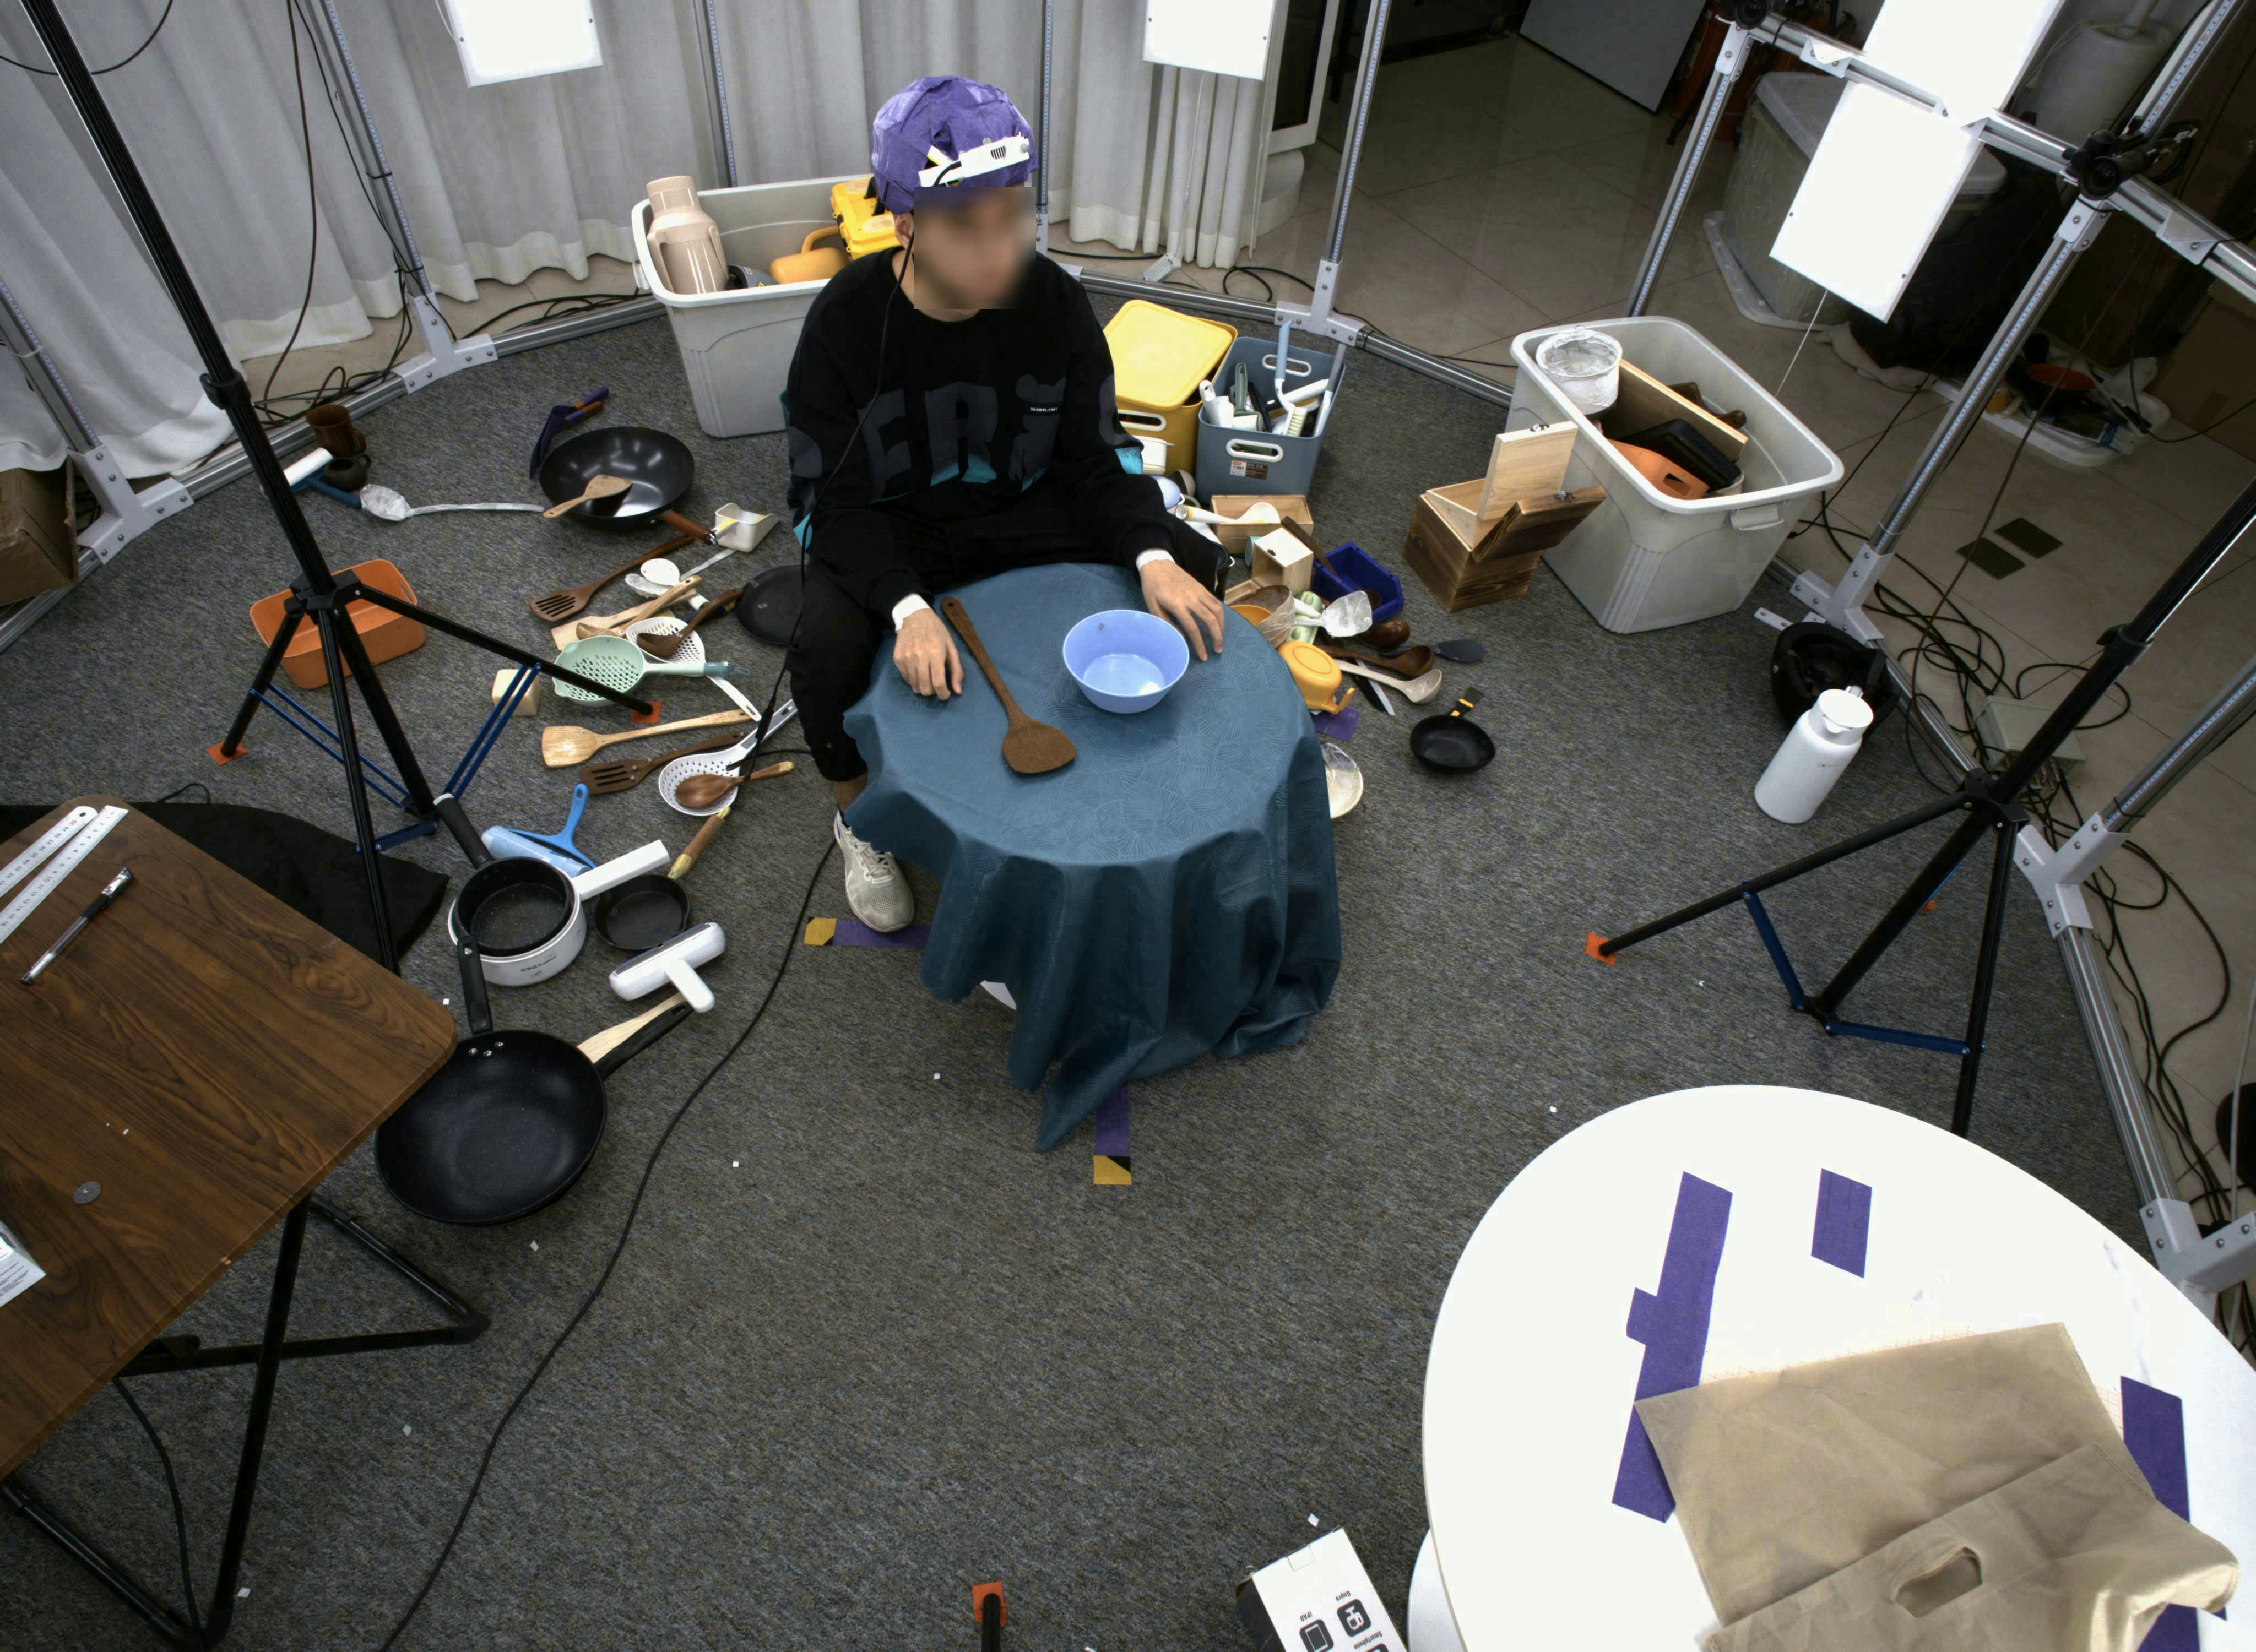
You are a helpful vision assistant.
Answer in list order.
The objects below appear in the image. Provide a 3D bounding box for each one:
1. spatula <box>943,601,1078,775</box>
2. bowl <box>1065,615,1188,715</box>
[{"bbox_3d":[-0.188,-0.208,1.844,0.096,0.015,0.394,-18,52,-19],"label":"spatula"},{"bbox_3d":[-0.003,-0.221,1.832,0.176,0.068,0.180,2,47,-2],"label":"bowl"}]
